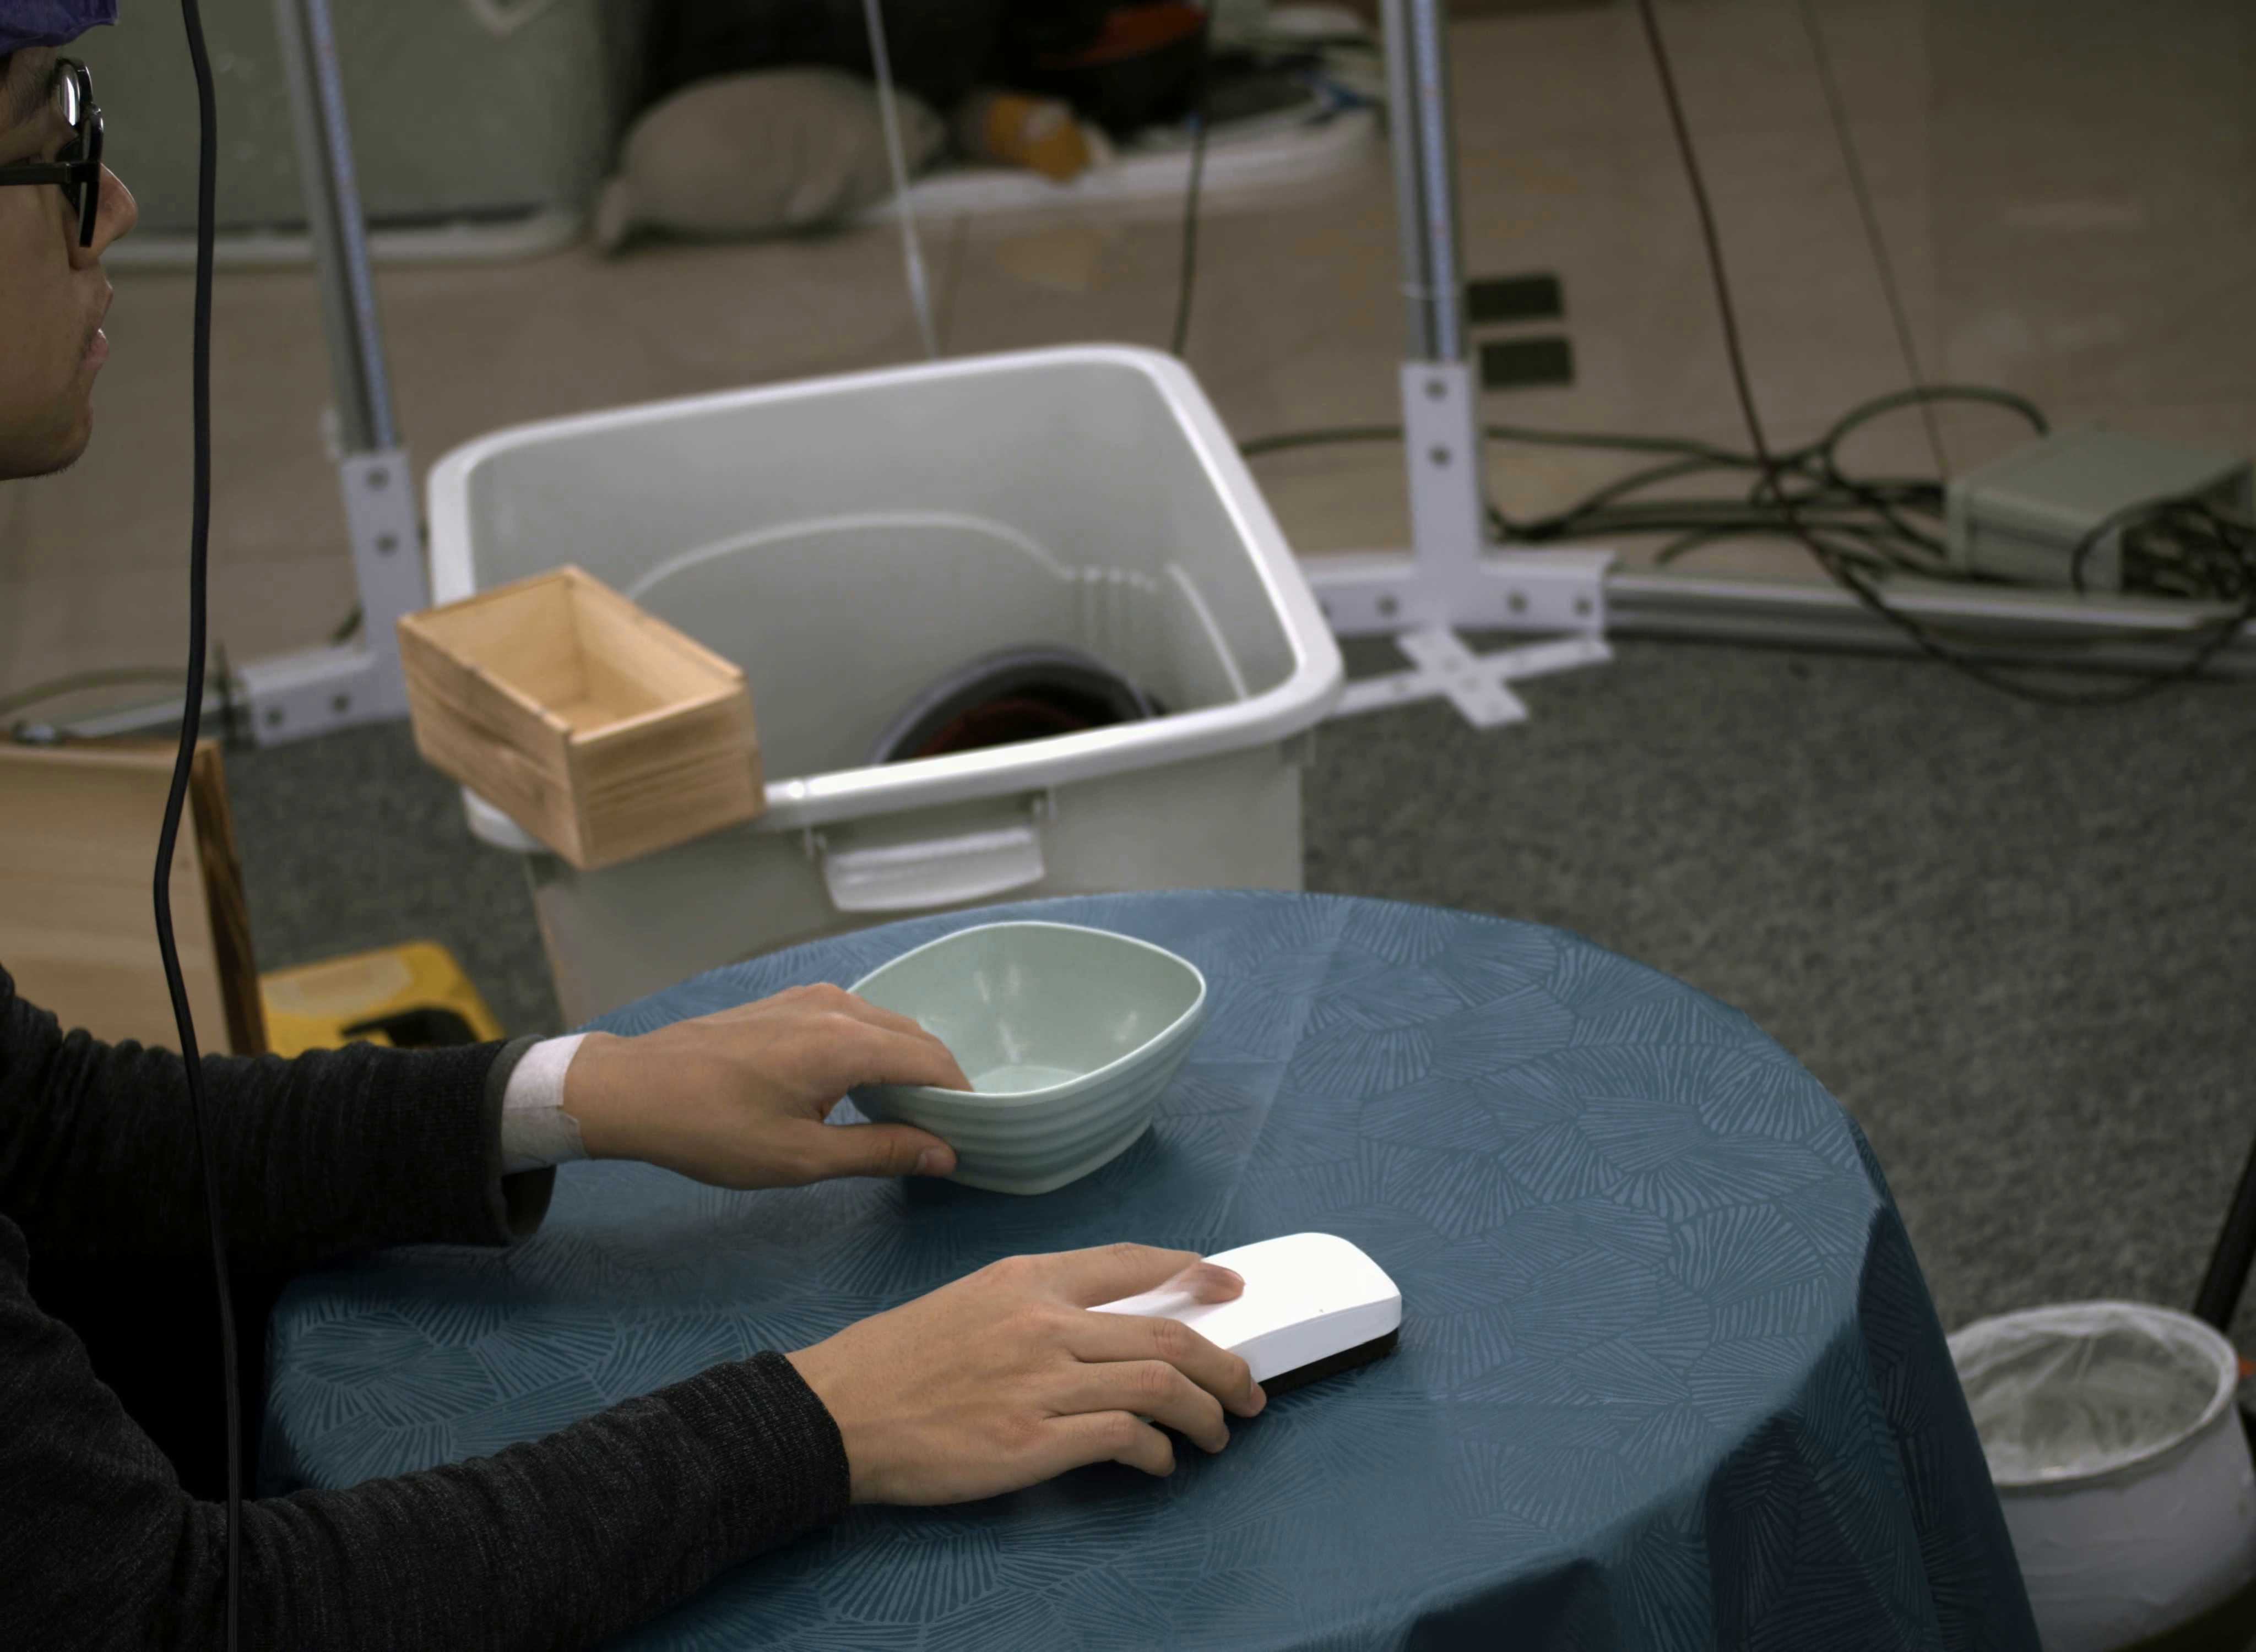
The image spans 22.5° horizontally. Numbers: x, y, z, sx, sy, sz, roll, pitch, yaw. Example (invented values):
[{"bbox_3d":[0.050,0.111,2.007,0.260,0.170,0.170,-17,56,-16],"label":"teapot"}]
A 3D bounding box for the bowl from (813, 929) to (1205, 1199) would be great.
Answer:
[{"bbox_3d":[-0.044,0.097,2.184,0.151,0.059,0.149,-4,24,2],"label":"bowl"}]

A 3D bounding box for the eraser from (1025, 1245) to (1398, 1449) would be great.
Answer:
[{"bbox_3d":[0.030,0.181,2.013,0.131,0.035,0.063,-16,25,-23],"label":"eraser"}]
